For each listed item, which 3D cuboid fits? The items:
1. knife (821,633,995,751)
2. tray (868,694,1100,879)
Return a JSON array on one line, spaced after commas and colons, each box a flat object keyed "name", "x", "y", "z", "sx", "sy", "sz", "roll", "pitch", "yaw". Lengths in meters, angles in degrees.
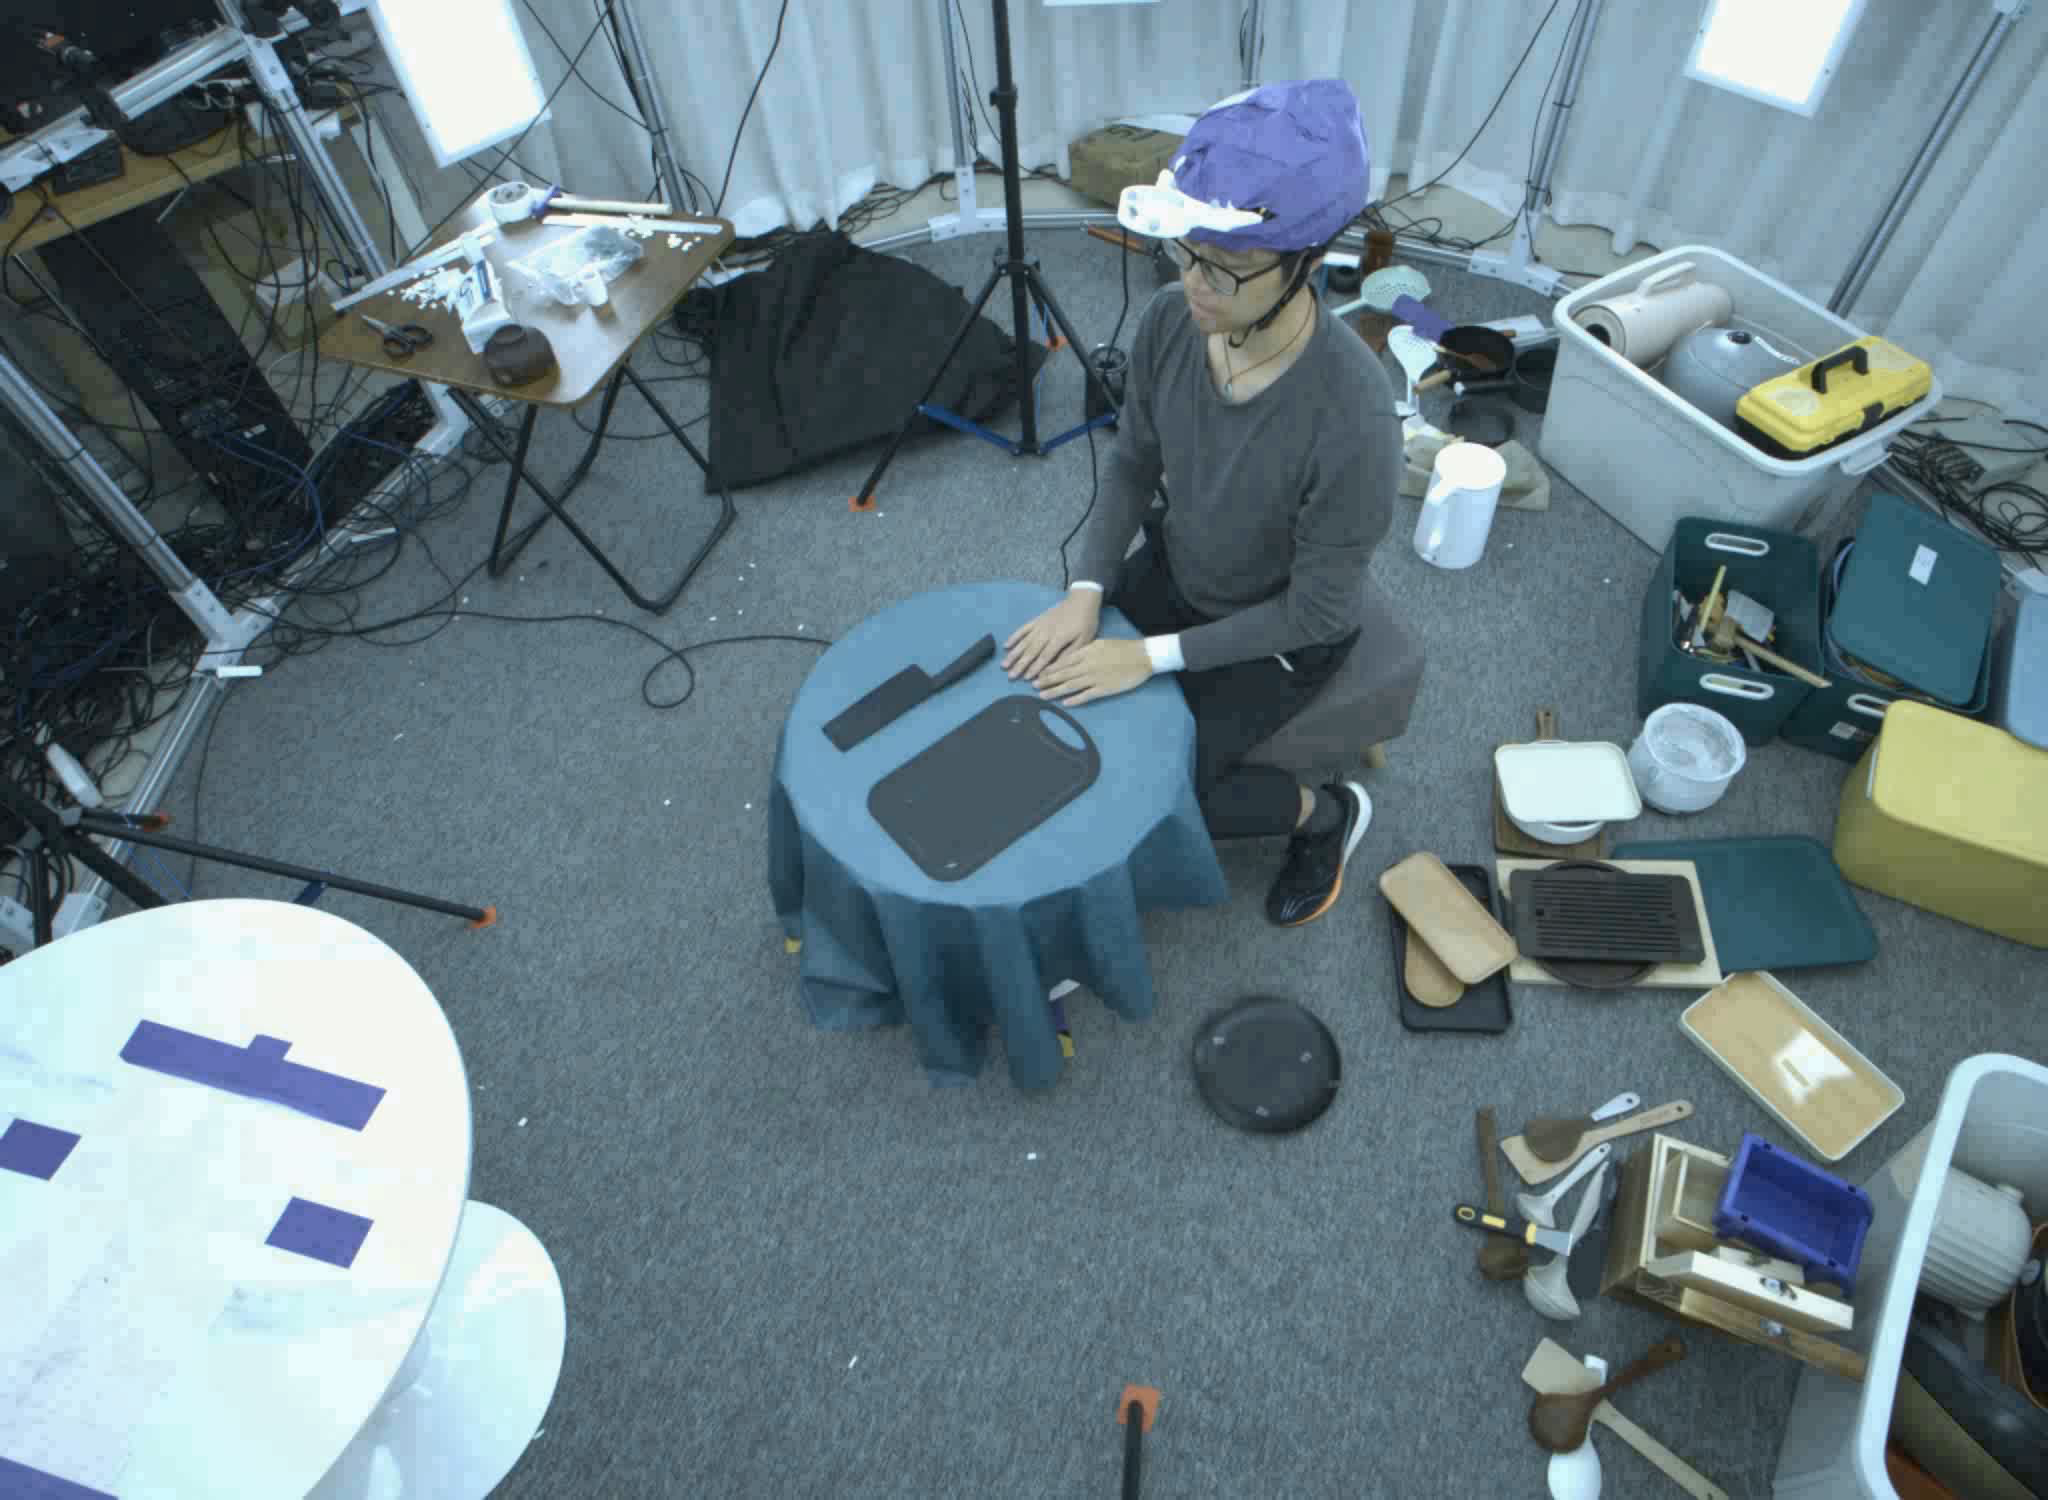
[{"name": "knife", "x": -0.170, "y": -0.096, "z": 1.860, "sx": 0.304, "sy": 0.021, "sz": 0.079, "roll": -32, "pitch": 59, "yaw": -18}, {"name": "tray", "x": -0.051, "y": 0.040, "z": 1.764, "sx": 0.328, "sy": 0.010, "sz": 0.207, "roll": -34, "pitch": 61, "yaw": -21}]
